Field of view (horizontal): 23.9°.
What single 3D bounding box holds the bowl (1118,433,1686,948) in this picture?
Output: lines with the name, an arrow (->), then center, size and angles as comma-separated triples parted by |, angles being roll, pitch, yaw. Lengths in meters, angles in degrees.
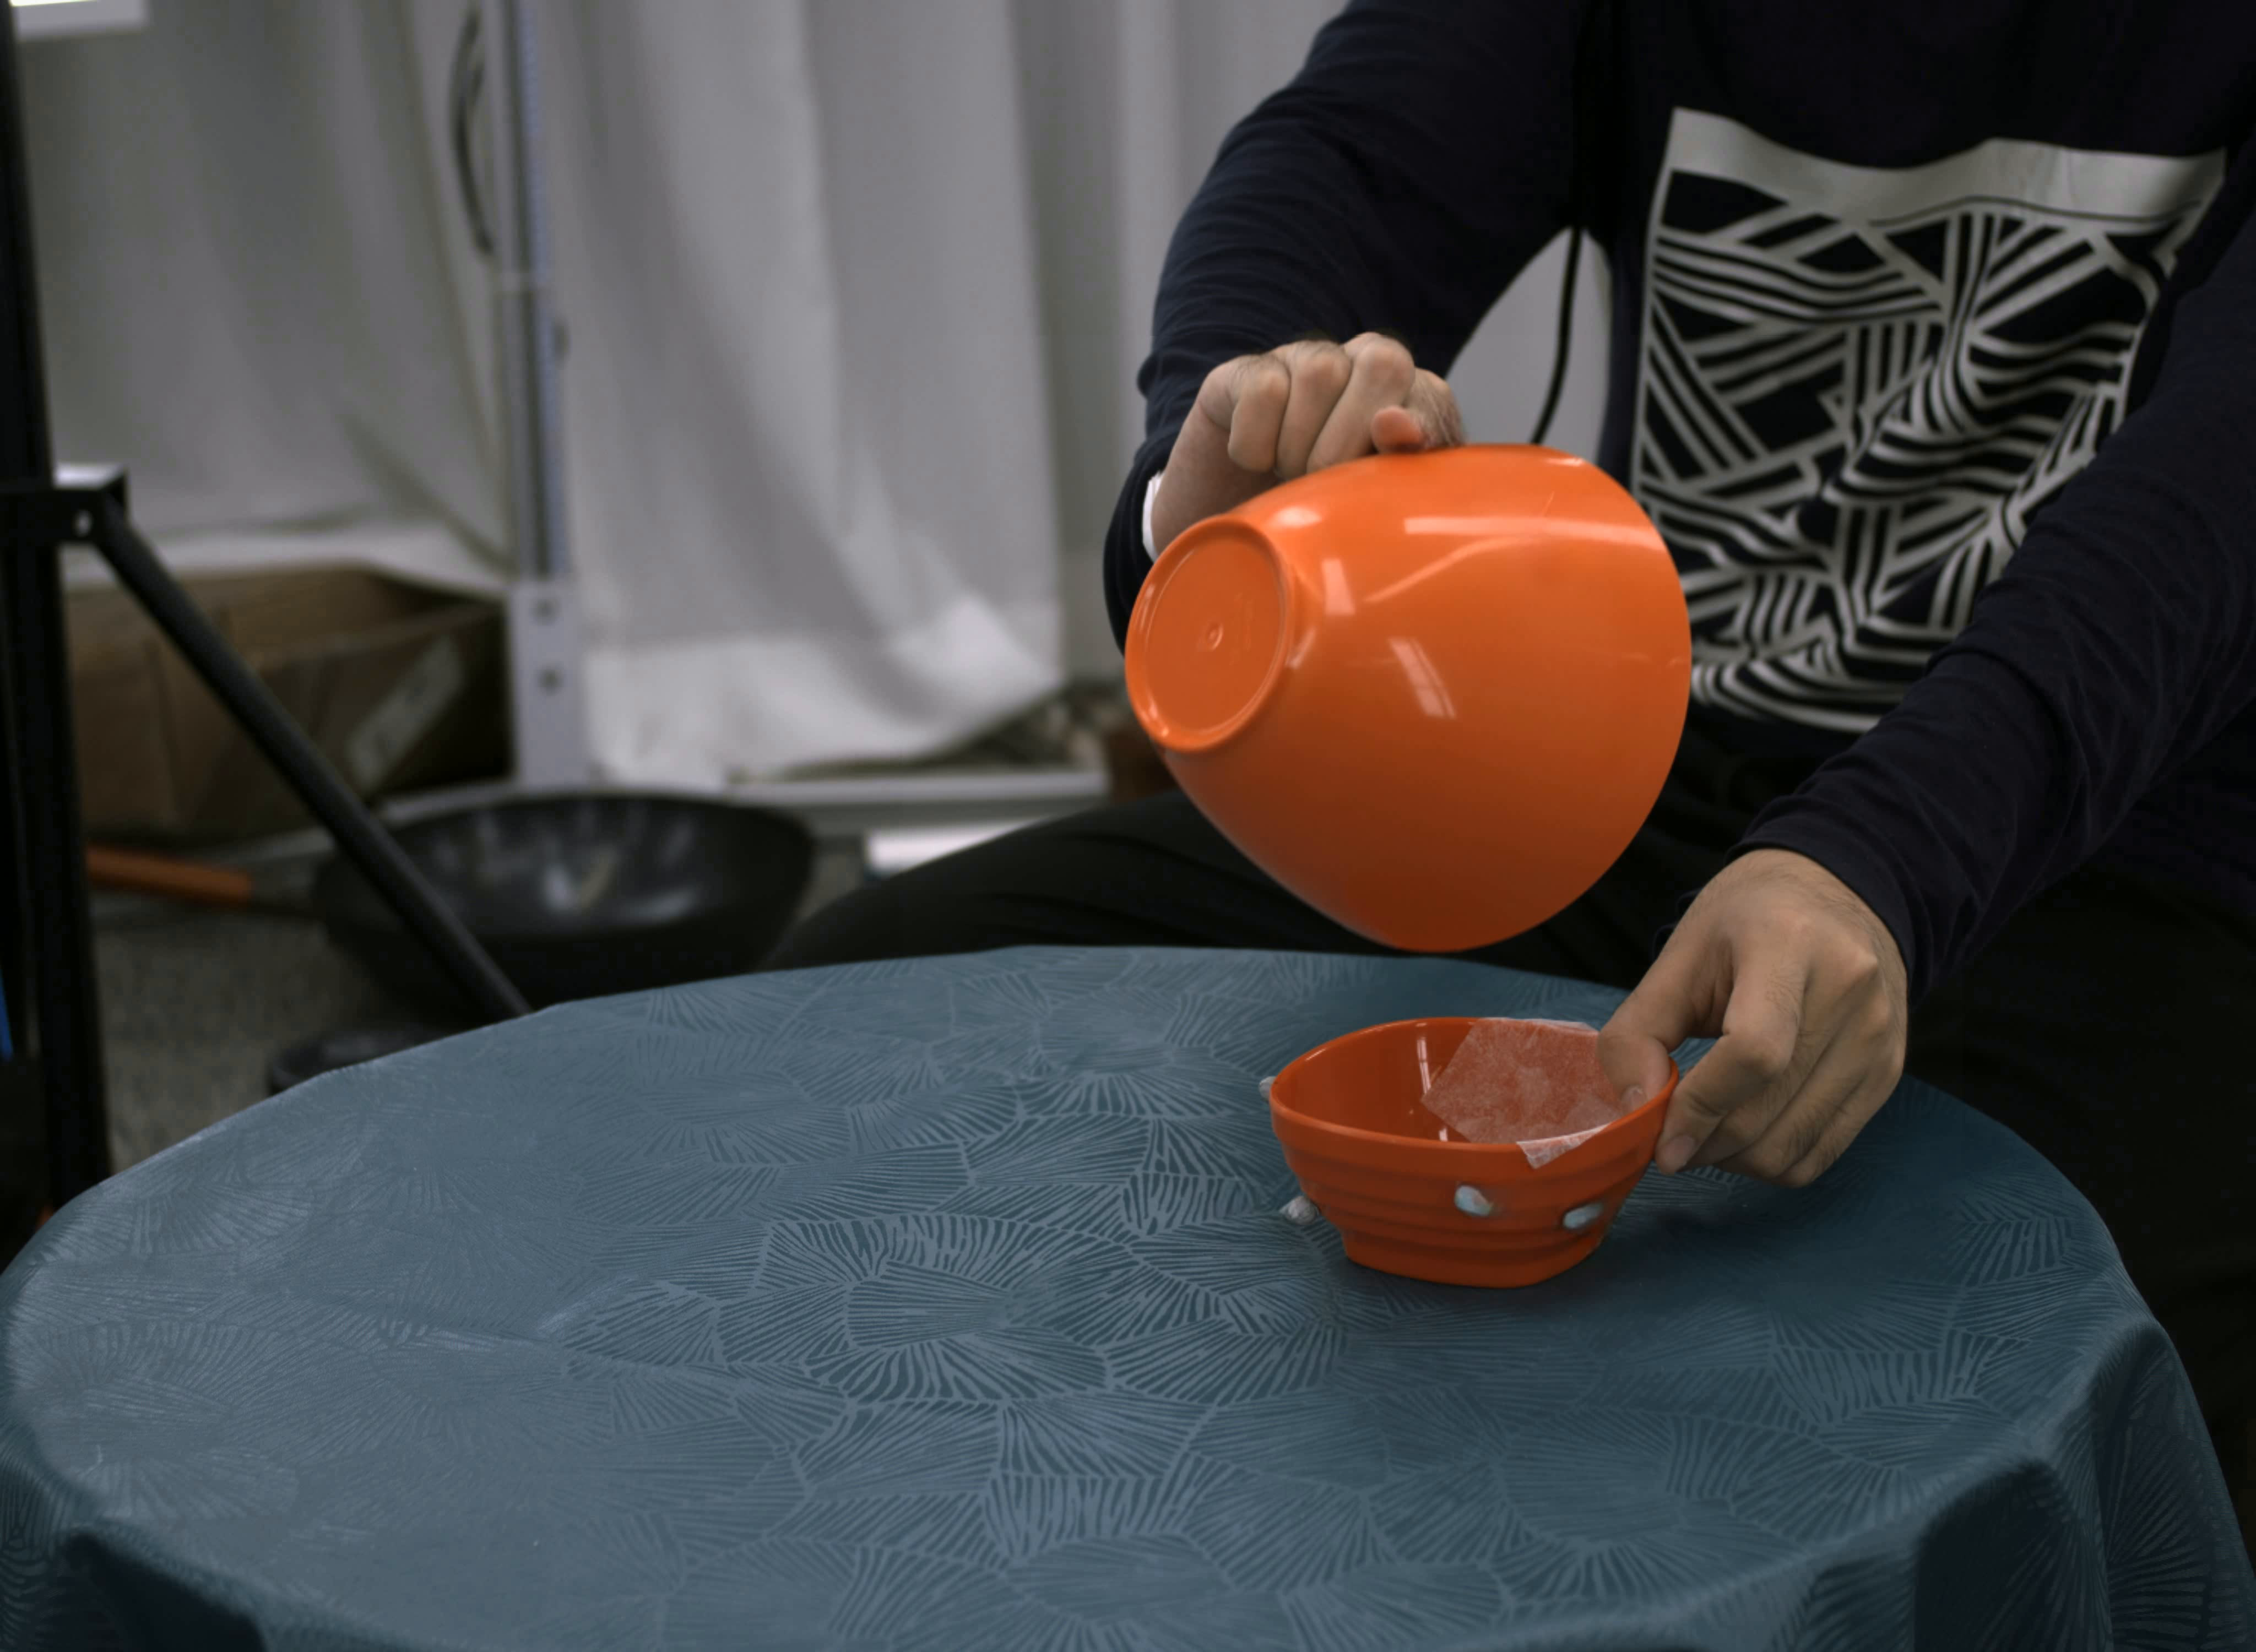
bowl -> 0.065, -0.045, 1.469 | 0.102, 0.148, 0.151 | 13, 3, -40

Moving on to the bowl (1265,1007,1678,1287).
bowl -> 0.099, 0.094, 1.498 | 0.118, 0.051, 0.119 | -4, 17, 0
